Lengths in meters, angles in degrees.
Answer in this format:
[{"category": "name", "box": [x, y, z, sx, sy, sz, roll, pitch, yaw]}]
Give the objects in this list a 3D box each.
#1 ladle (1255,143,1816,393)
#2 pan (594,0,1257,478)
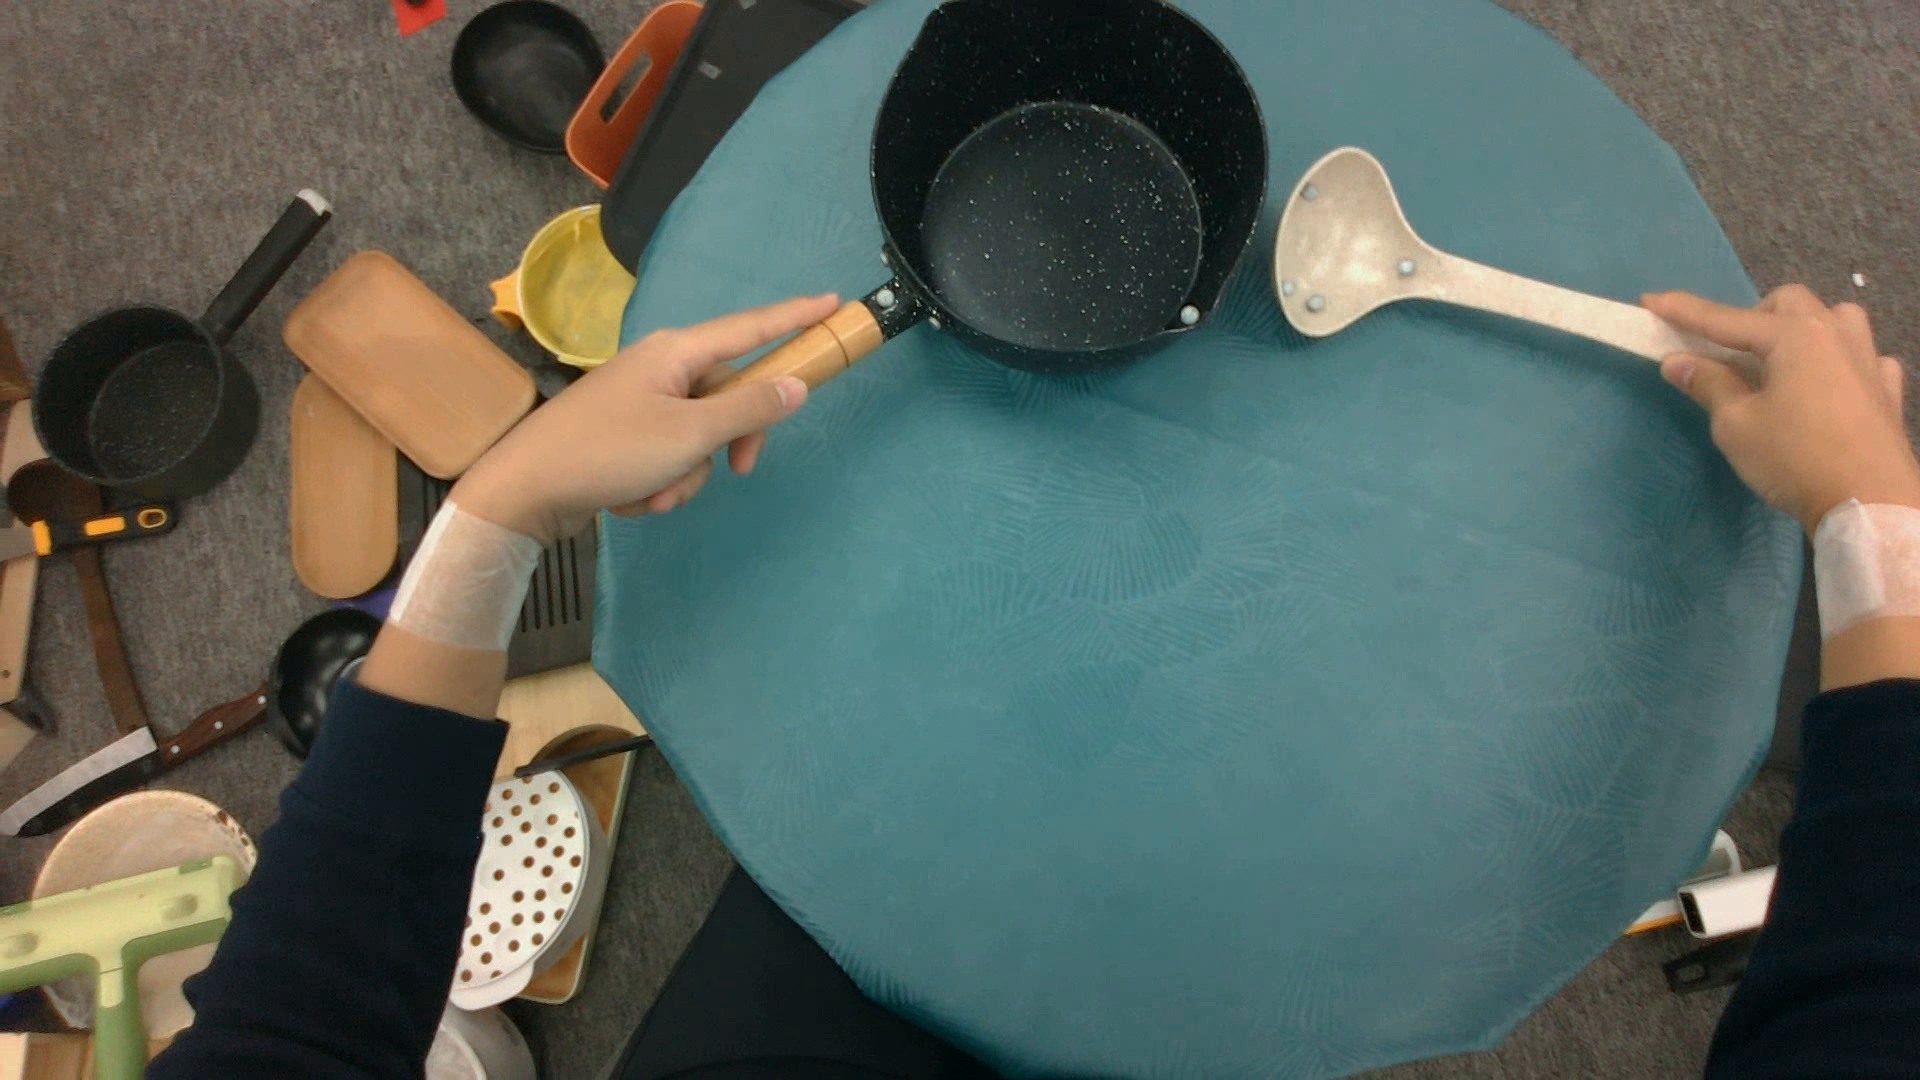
[{"category": "ladle", "box": [0.277, -0.116, 0.657, 0.275, 0.069, 0.089, 18, 97, 10]}, {"category": "pan", "box": [-0.017, -0.126, 0.656, 0.343, 0.108, 0.207, -38, 81, -8]}]
